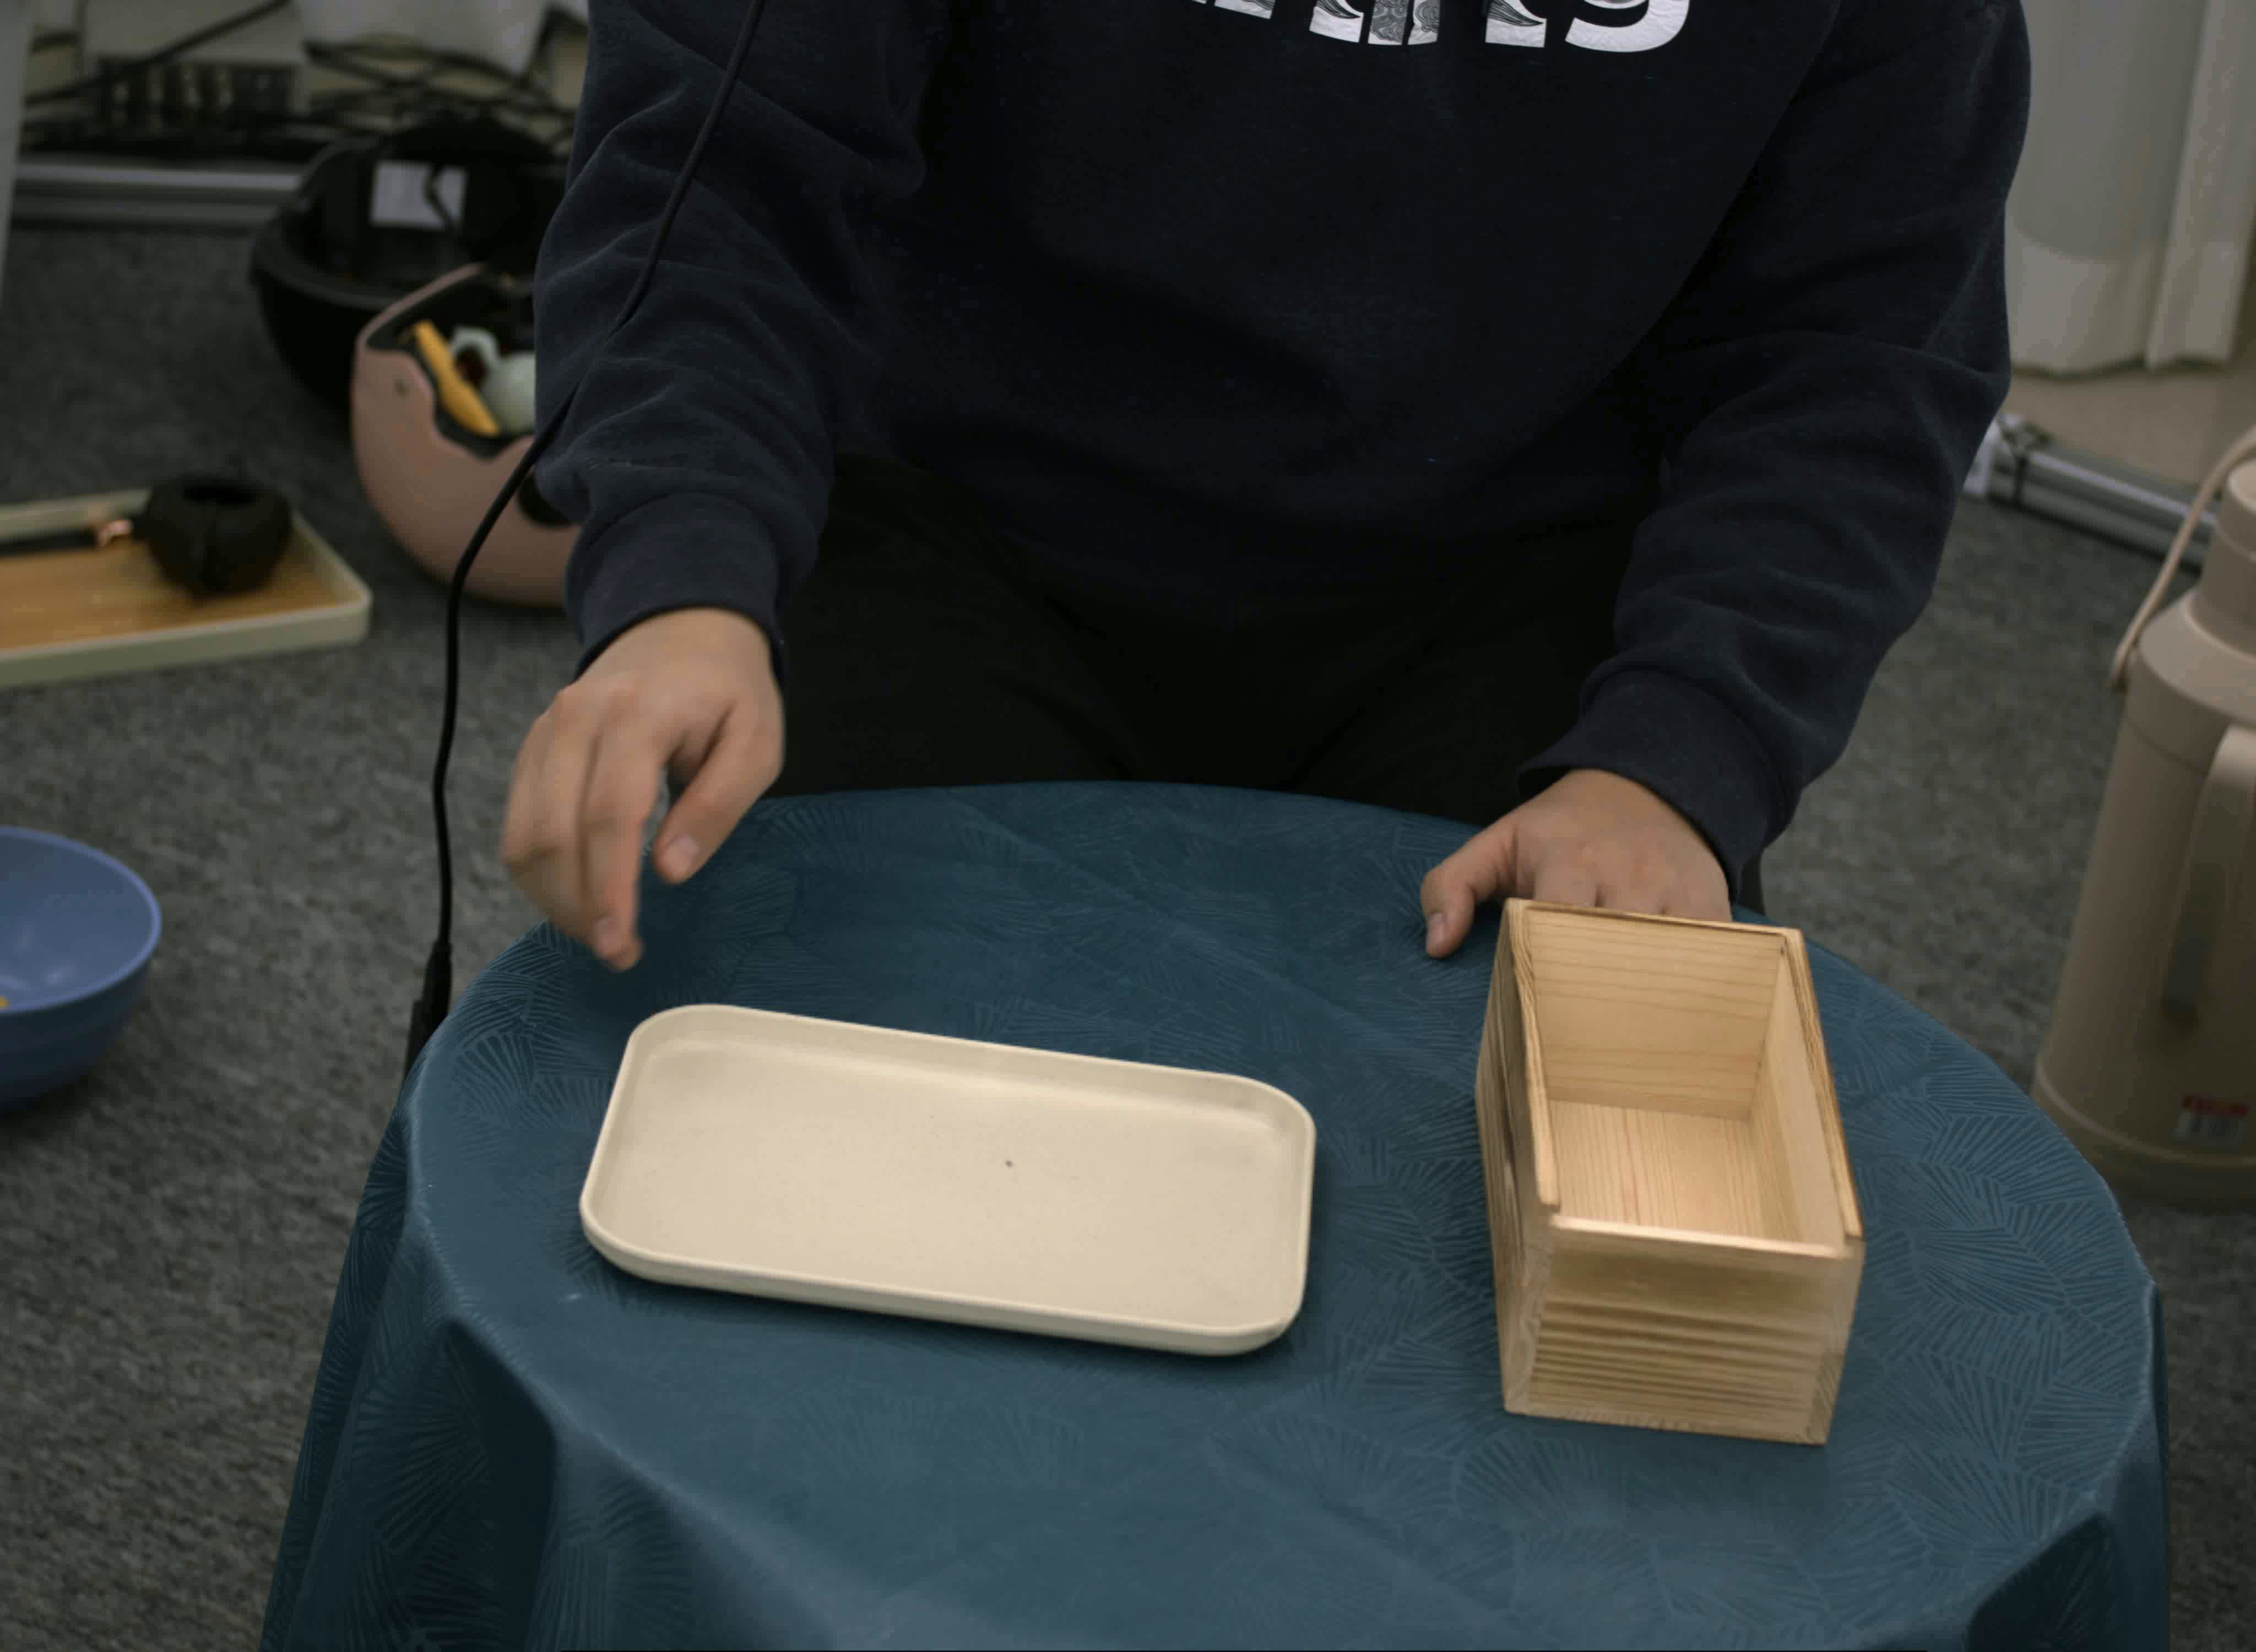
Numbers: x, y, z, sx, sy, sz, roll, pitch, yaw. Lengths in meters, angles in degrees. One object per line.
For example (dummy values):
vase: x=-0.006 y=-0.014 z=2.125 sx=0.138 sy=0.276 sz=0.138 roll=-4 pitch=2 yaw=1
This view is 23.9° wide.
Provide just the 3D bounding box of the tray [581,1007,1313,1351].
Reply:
tray: x=-0.058 y=0.119 z=1.783 sx=0.239 sy=0.017 sz=0.172 roll=7 pitch=26 yaw=1

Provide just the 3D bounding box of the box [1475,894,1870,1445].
box: x=0.179 y=0.112 z=1.784 sx=0.107 sy=0.080 sz=0.212 roll=6 pitch=27 yaw=-3
